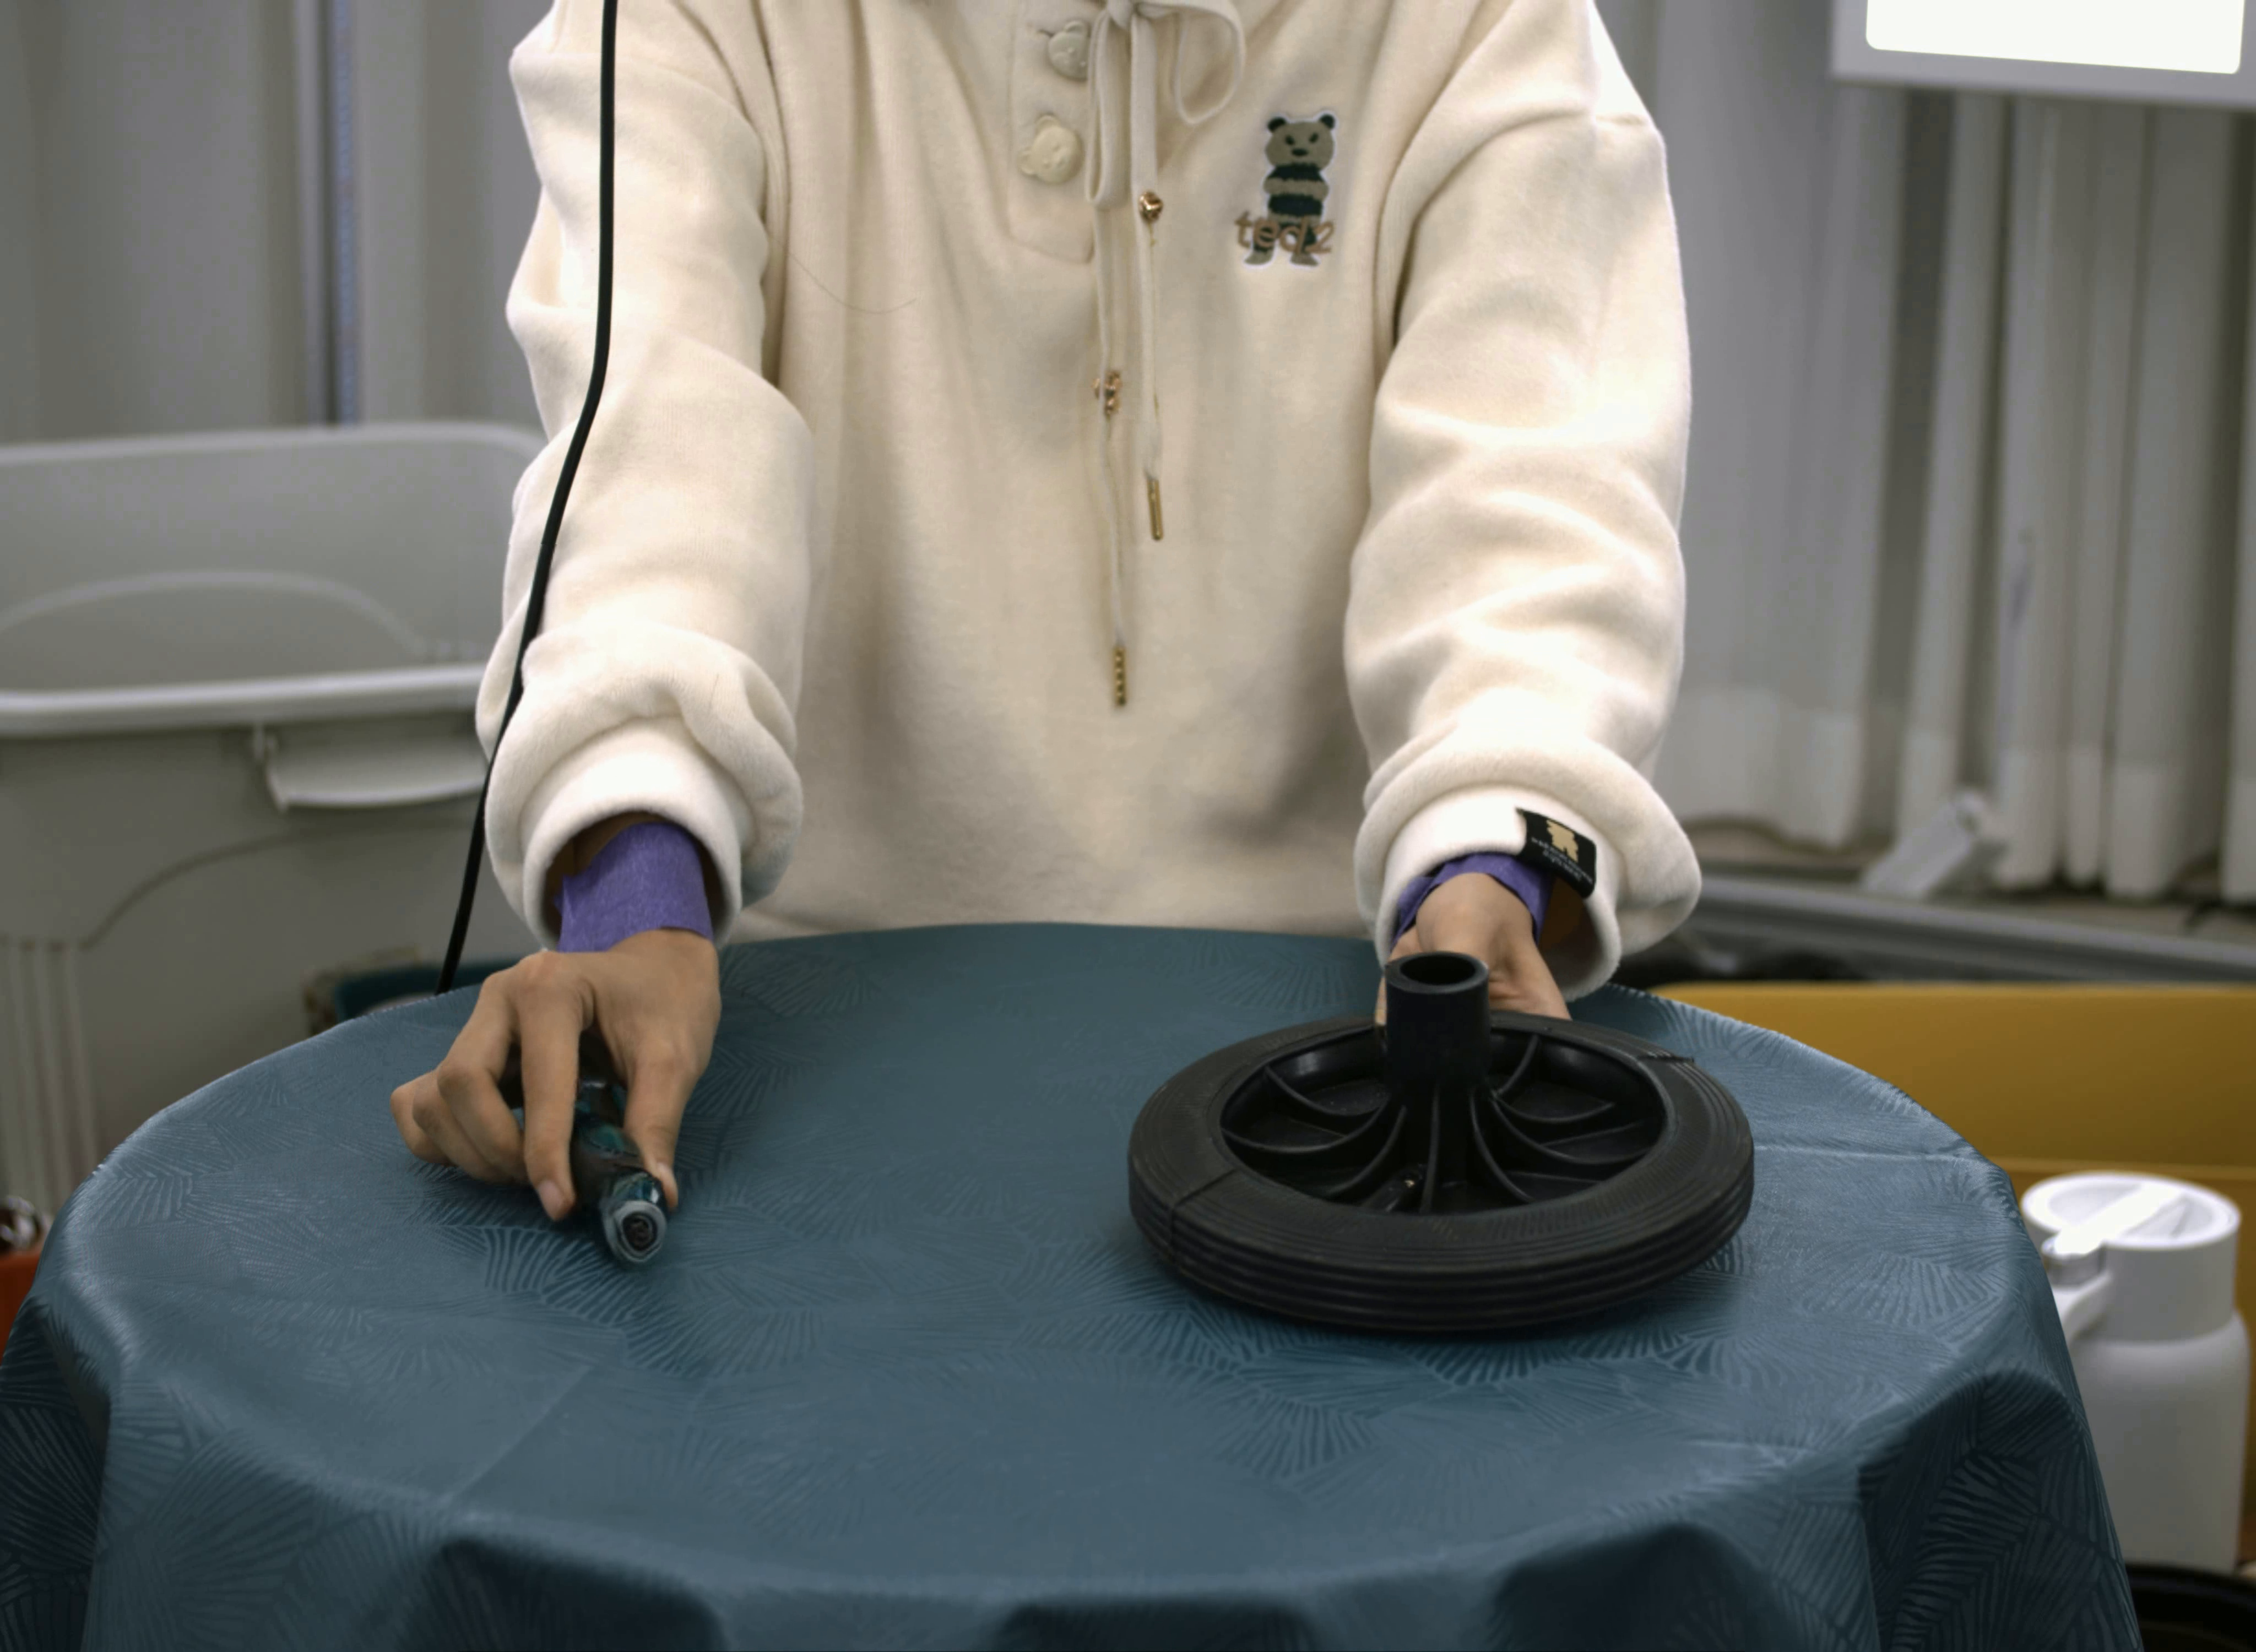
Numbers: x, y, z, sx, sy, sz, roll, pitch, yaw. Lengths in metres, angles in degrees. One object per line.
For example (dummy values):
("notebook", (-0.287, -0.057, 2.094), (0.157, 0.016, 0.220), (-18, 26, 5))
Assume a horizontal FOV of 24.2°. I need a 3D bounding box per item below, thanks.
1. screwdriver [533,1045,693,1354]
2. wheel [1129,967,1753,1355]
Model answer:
("screwdriver", (-0.150, 0.113, 1.564), (0.034, 0.034, 0.188), (-4, 23, -15))
("wheel", (0.092, 0.084, 1.568), (0.186, 0.080, 0.188), (0, 25, 5))
